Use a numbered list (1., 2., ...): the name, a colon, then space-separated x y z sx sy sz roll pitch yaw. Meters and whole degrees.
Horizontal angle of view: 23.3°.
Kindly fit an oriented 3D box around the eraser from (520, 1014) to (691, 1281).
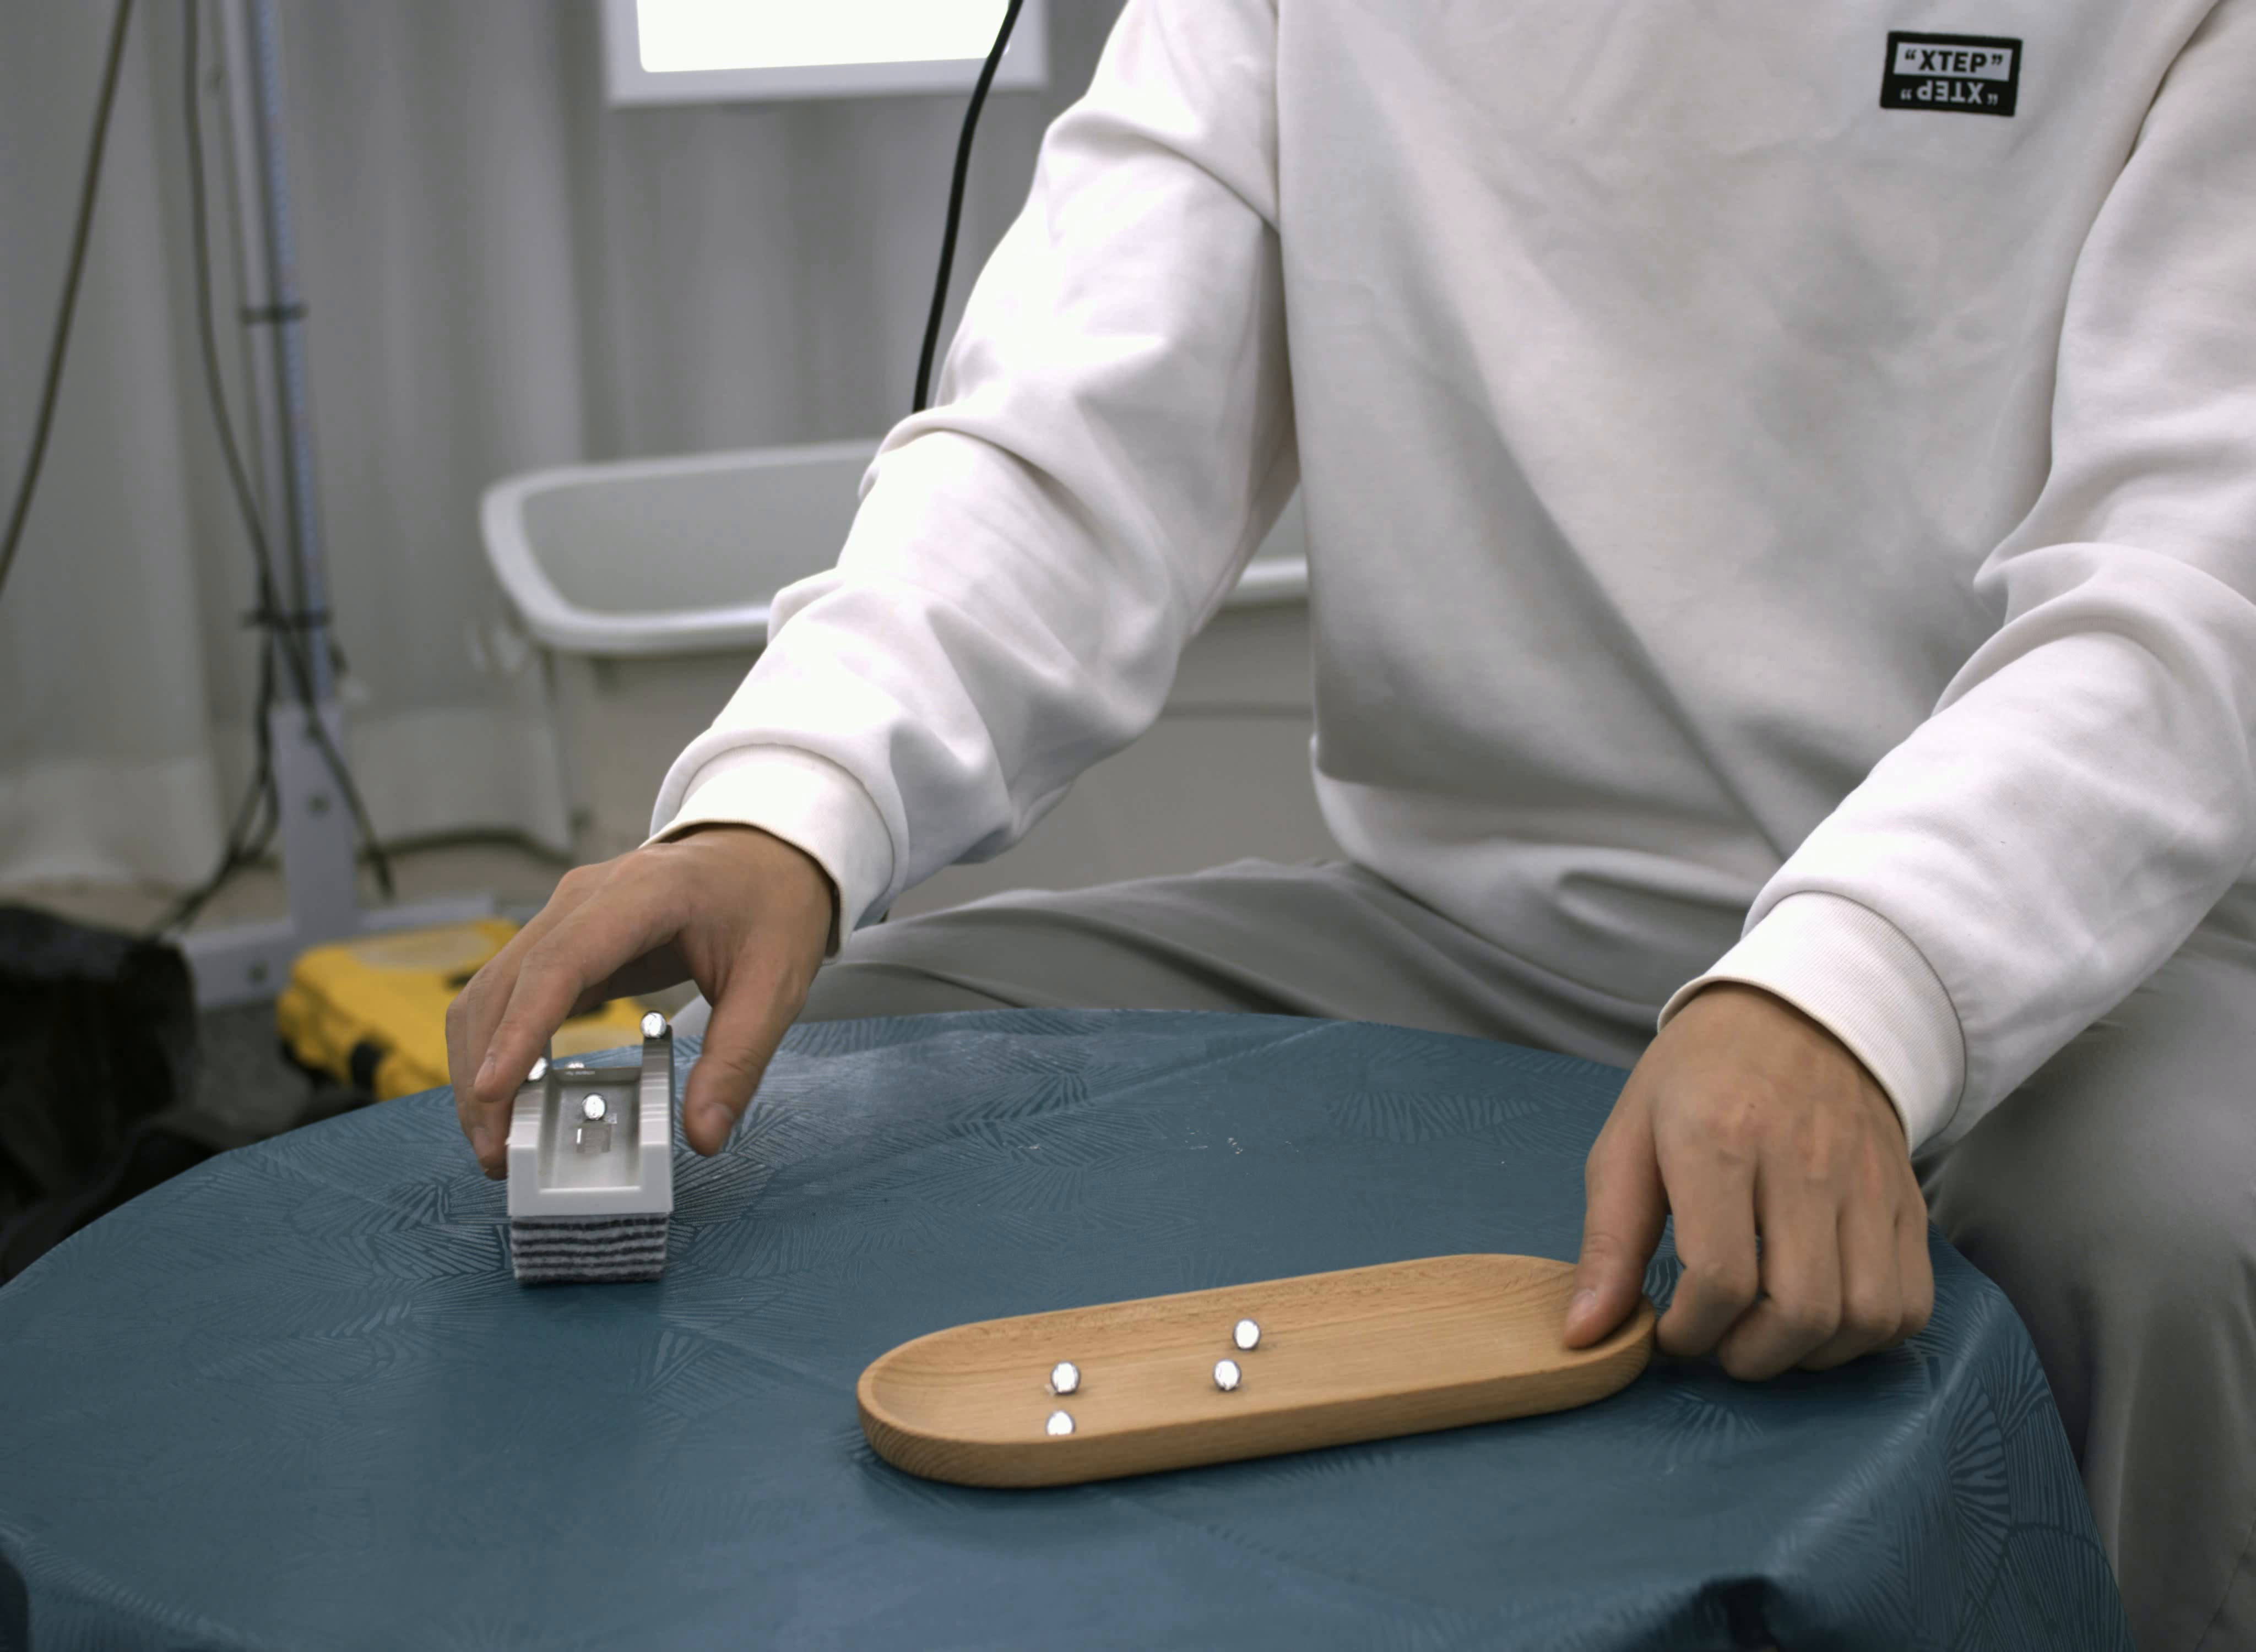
1. eraser: -0.164 0.099 1.710 0.049 0.046 0.135 2 15 -8

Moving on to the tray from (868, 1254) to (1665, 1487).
1. tray: 0.040 0.153 1.536 0.230 0.020 0.102 -5 16 -17
